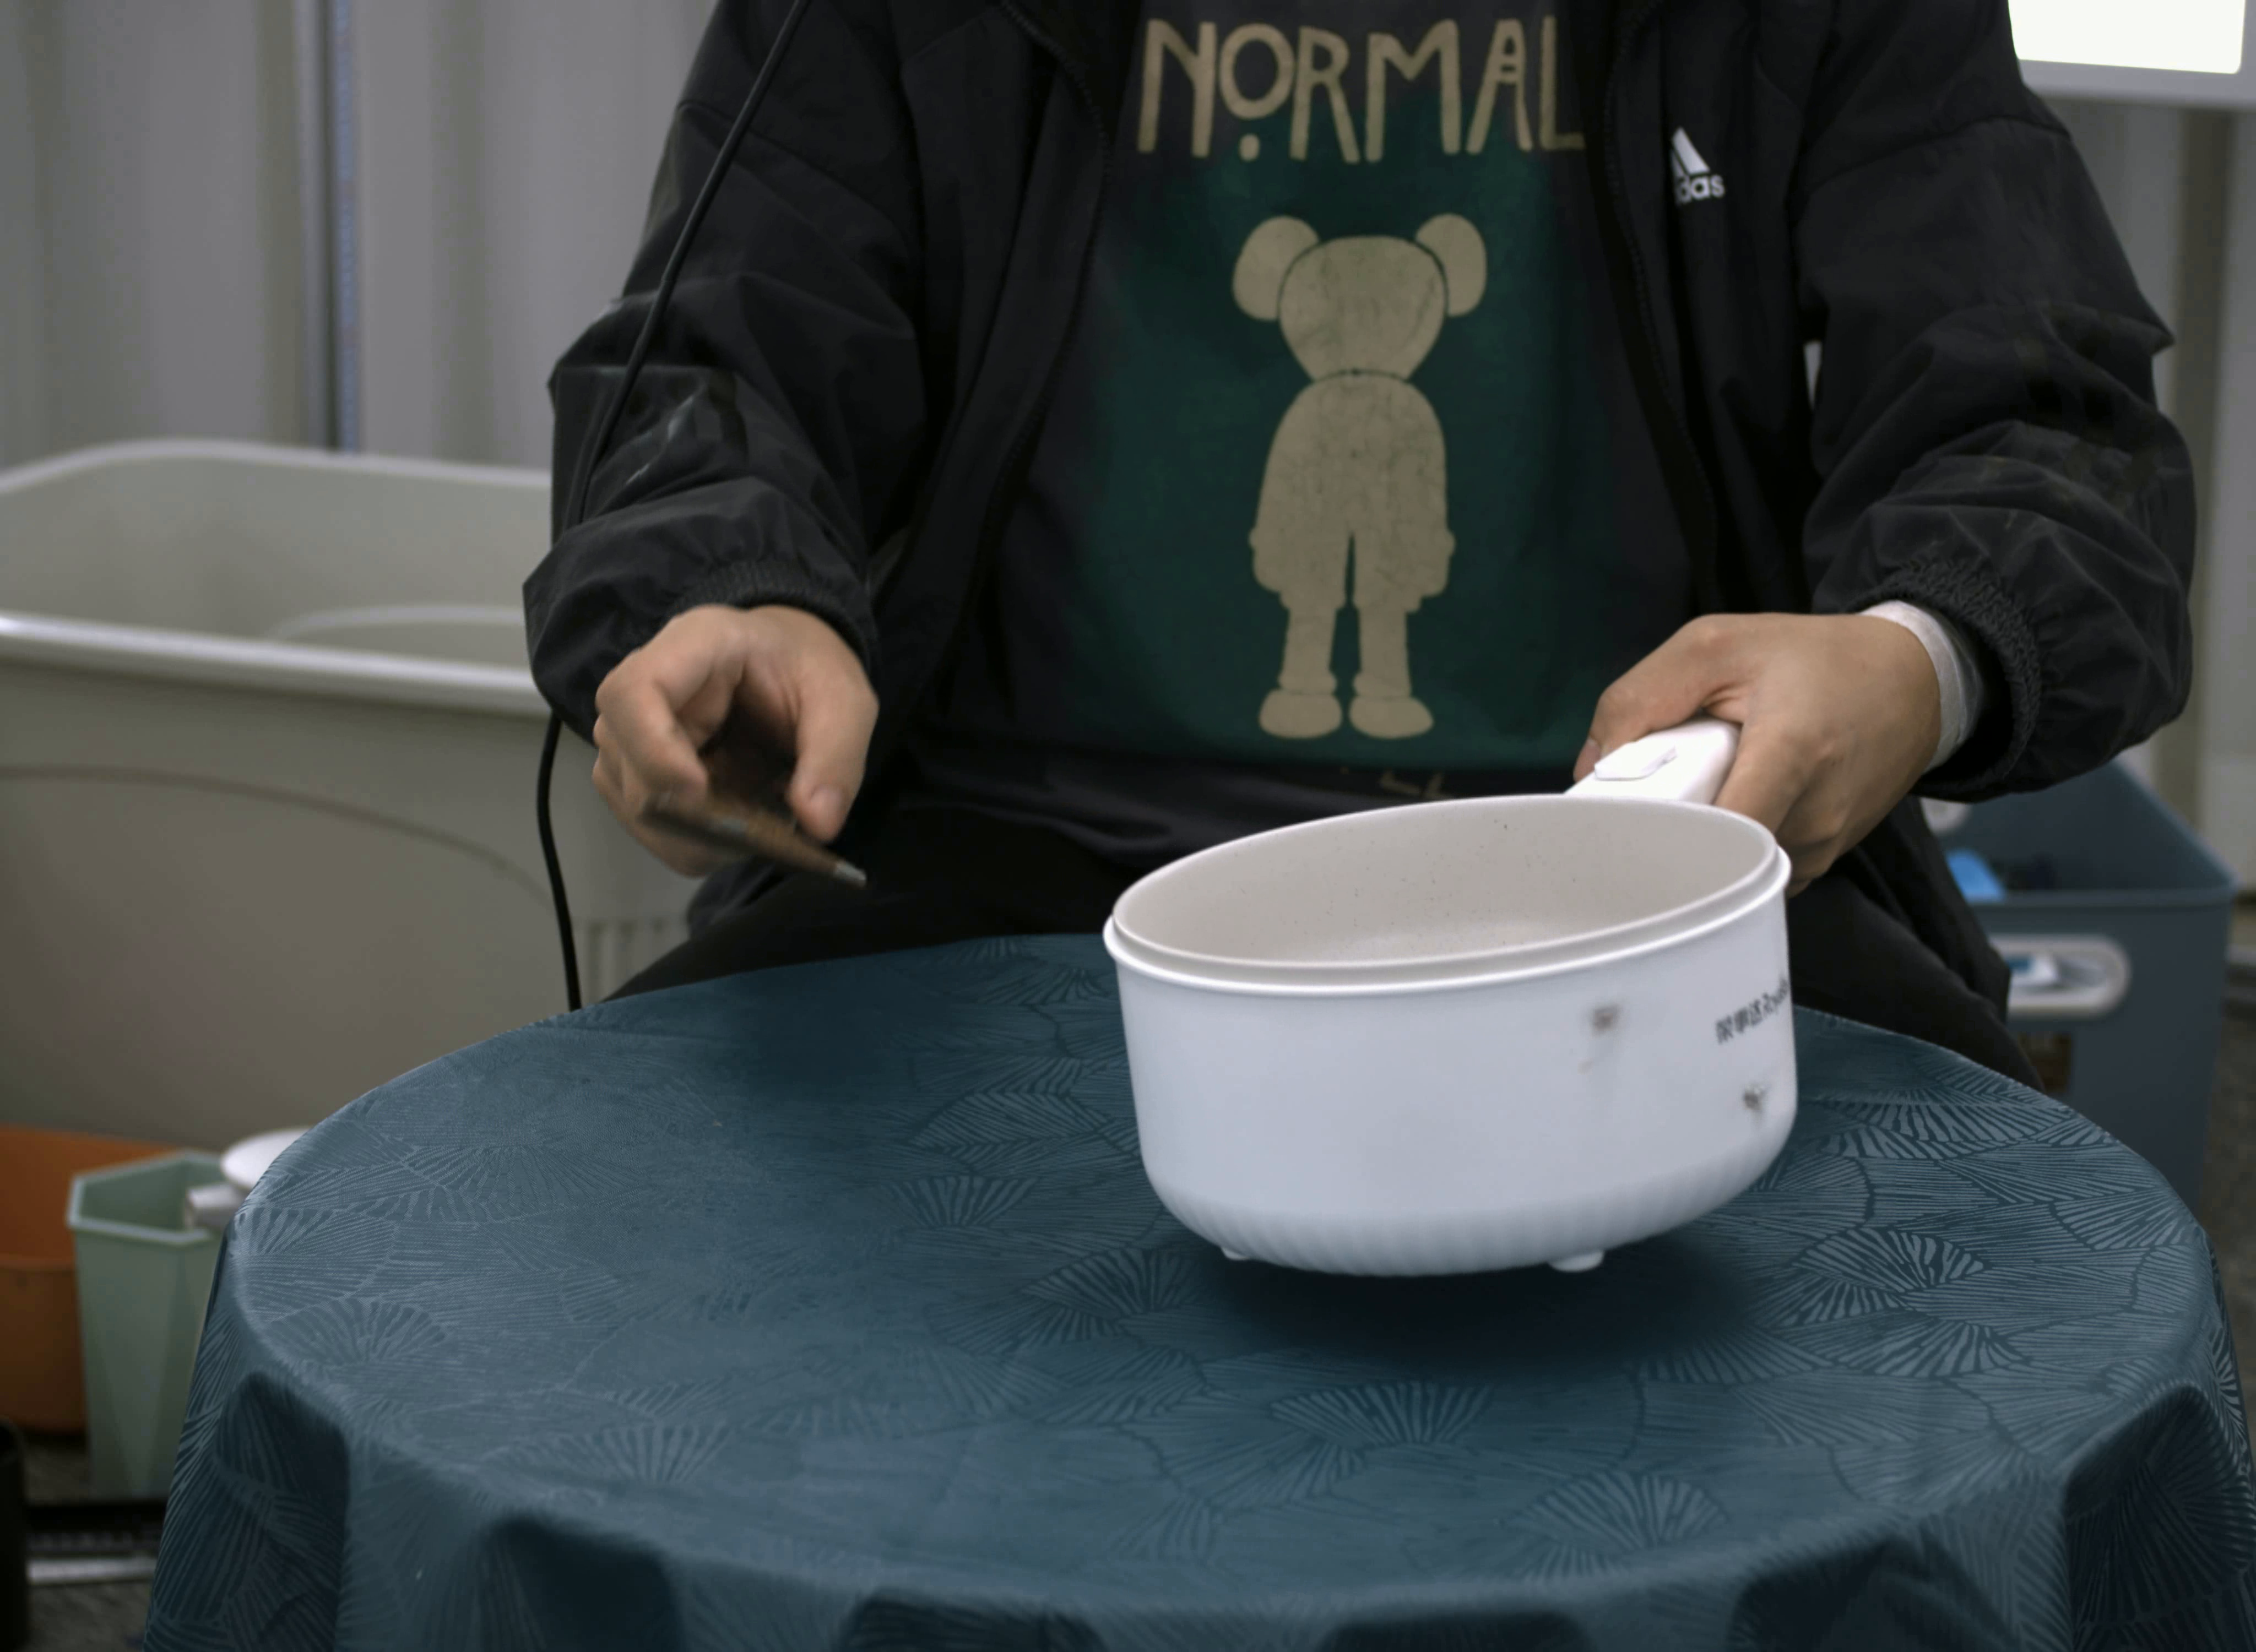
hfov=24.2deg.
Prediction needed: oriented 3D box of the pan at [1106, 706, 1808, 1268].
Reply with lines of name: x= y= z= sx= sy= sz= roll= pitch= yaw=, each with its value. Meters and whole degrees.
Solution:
pan: x=0.132 y=0.045 z=1.609 sx=0.199 sy=0.103 sz=0.356 roll=-1 pitch=12 yaw=27

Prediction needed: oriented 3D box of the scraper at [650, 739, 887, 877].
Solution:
scraper: x=-0.117 y=-0.011 z=1.635 sx=0.076 sy=0.011 sz=0.210 roll=24 pitch=3 yaw=-9
